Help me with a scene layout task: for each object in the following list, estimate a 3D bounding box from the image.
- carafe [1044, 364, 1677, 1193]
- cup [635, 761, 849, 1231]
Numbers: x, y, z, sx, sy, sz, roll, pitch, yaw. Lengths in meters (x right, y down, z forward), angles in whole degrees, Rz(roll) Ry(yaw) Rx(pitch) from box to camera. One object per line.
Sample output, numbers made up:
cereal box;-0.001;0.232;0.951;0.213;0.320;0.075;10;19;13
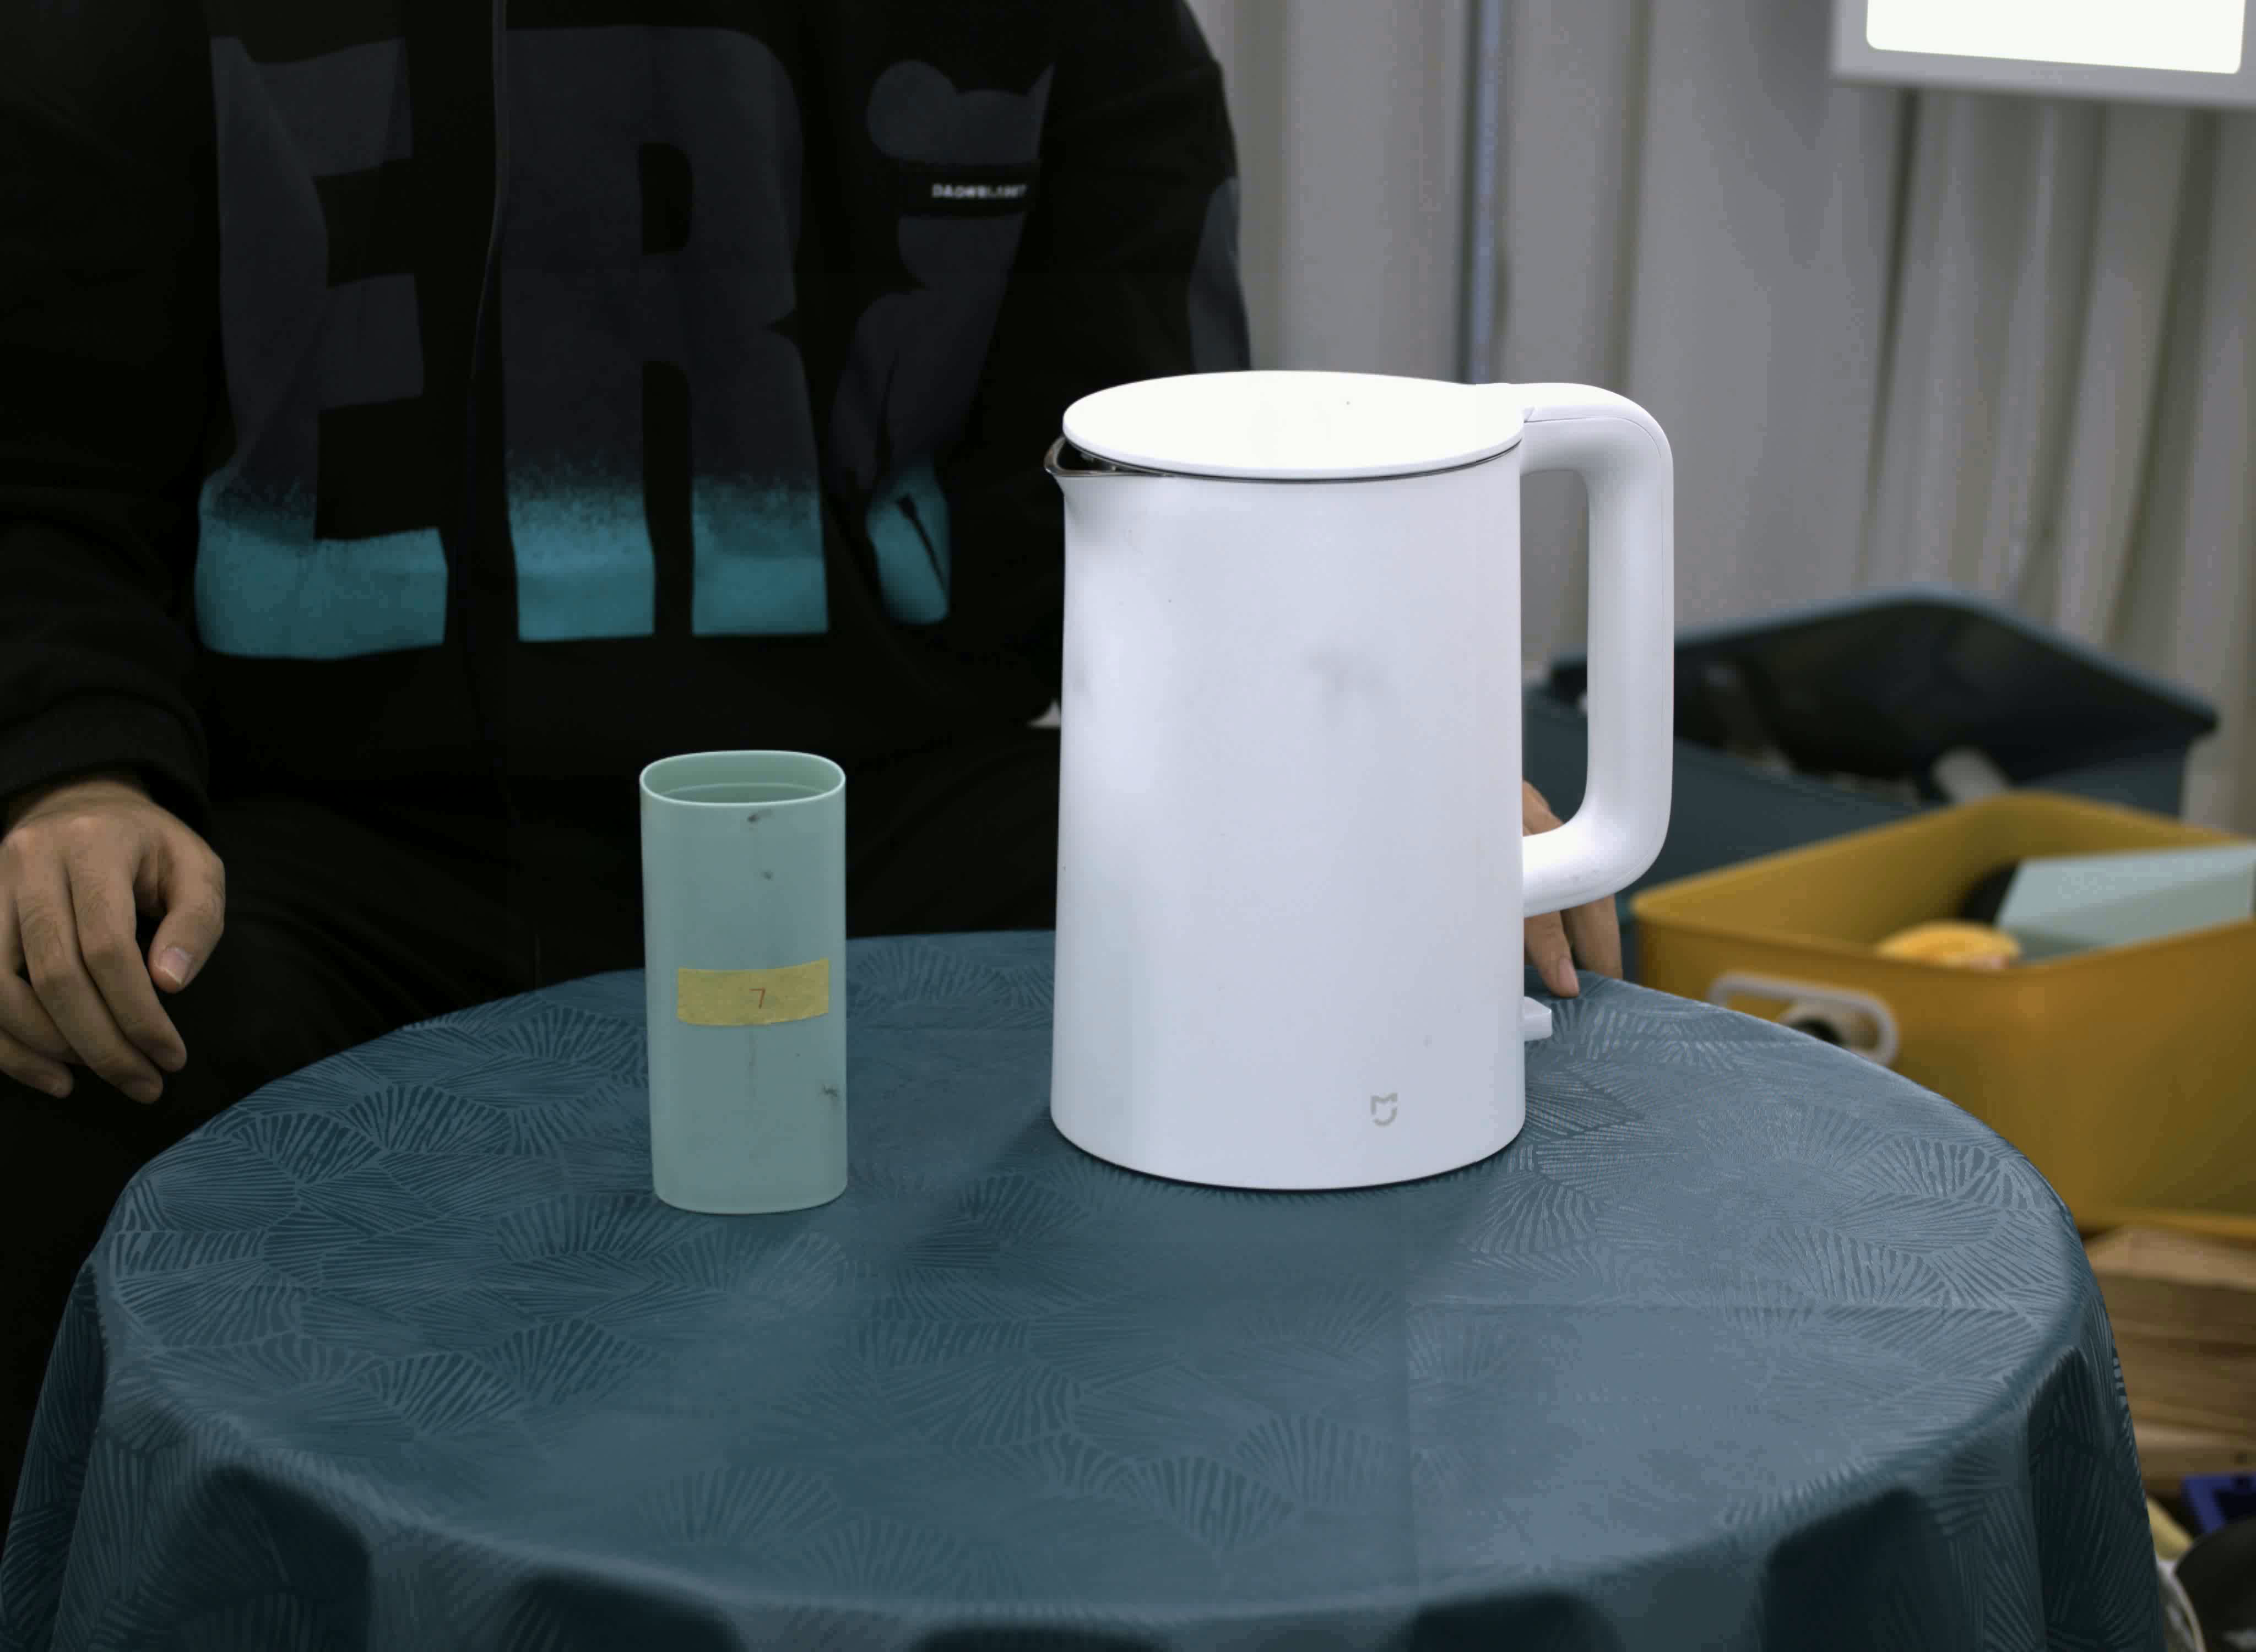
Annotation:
carafe;0.075;-0.020;1.665;0.214;0.242;0.150;-8;19;-23
cup;-0.117;0.050;1.606;0.066;0.133;0.066;0;17;1
